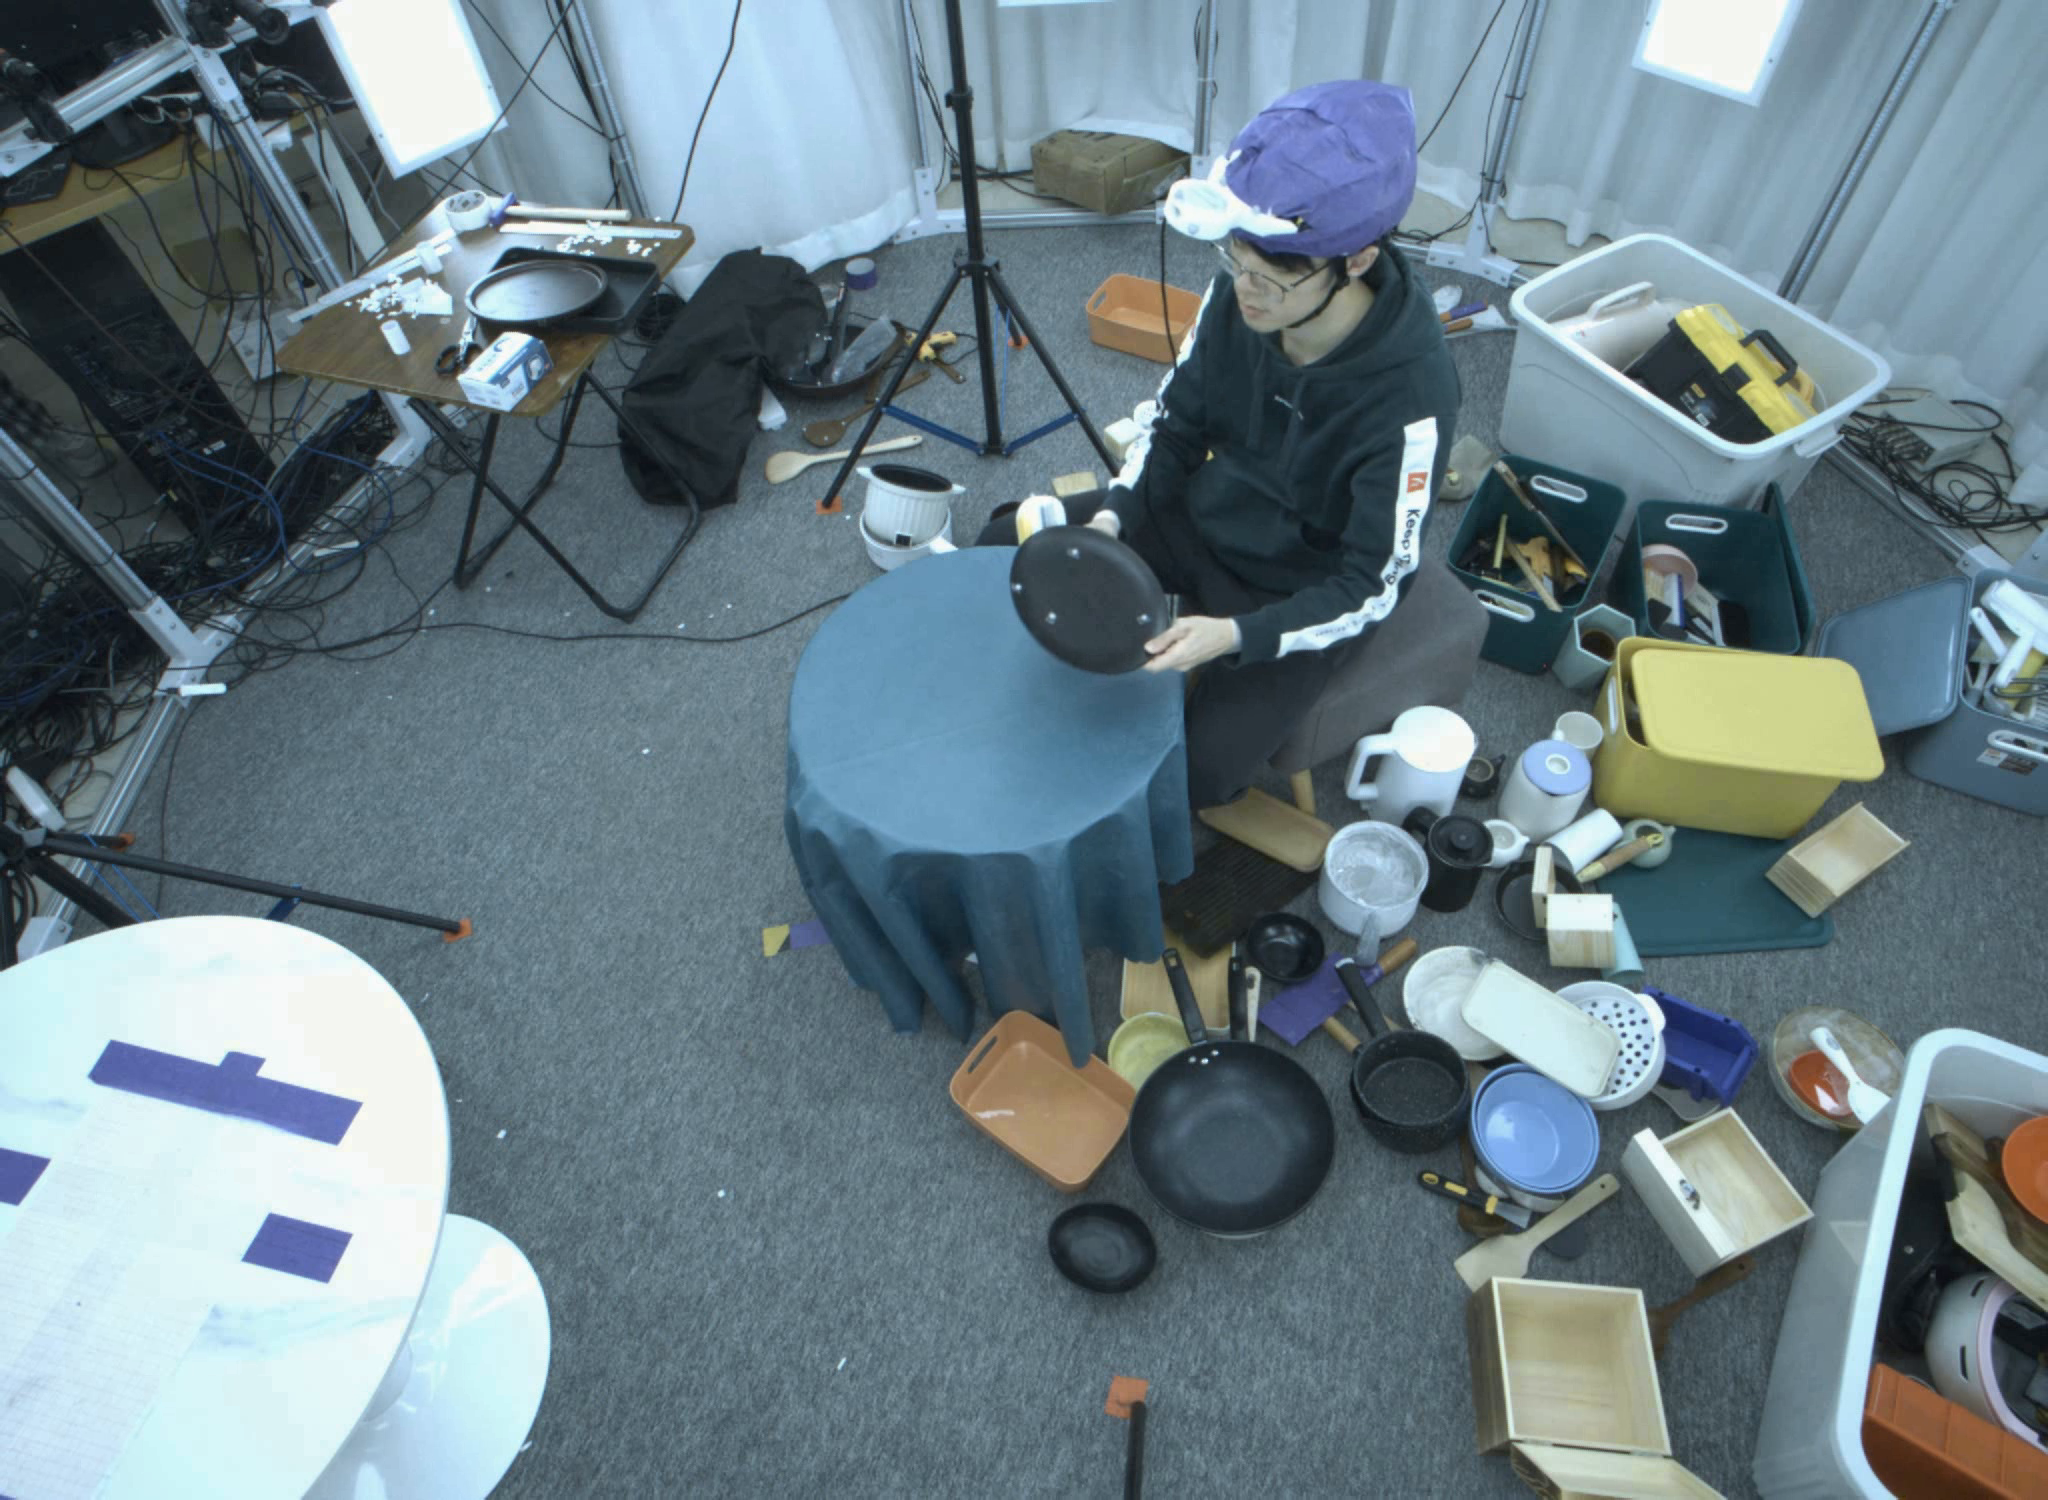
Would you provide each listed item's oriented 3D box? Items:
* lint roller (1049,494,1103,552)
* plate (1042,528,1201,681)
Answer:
[{"bbox_3d":[0.120,-0.276,1.809,0.196,0.072,0.193,-8,91,-41],"label":"lint roller"},{"bbox_3d":[0.134,-0.201,1.711,0.248,0.023,0.242,11,63,-20],"label":"plate"}]
